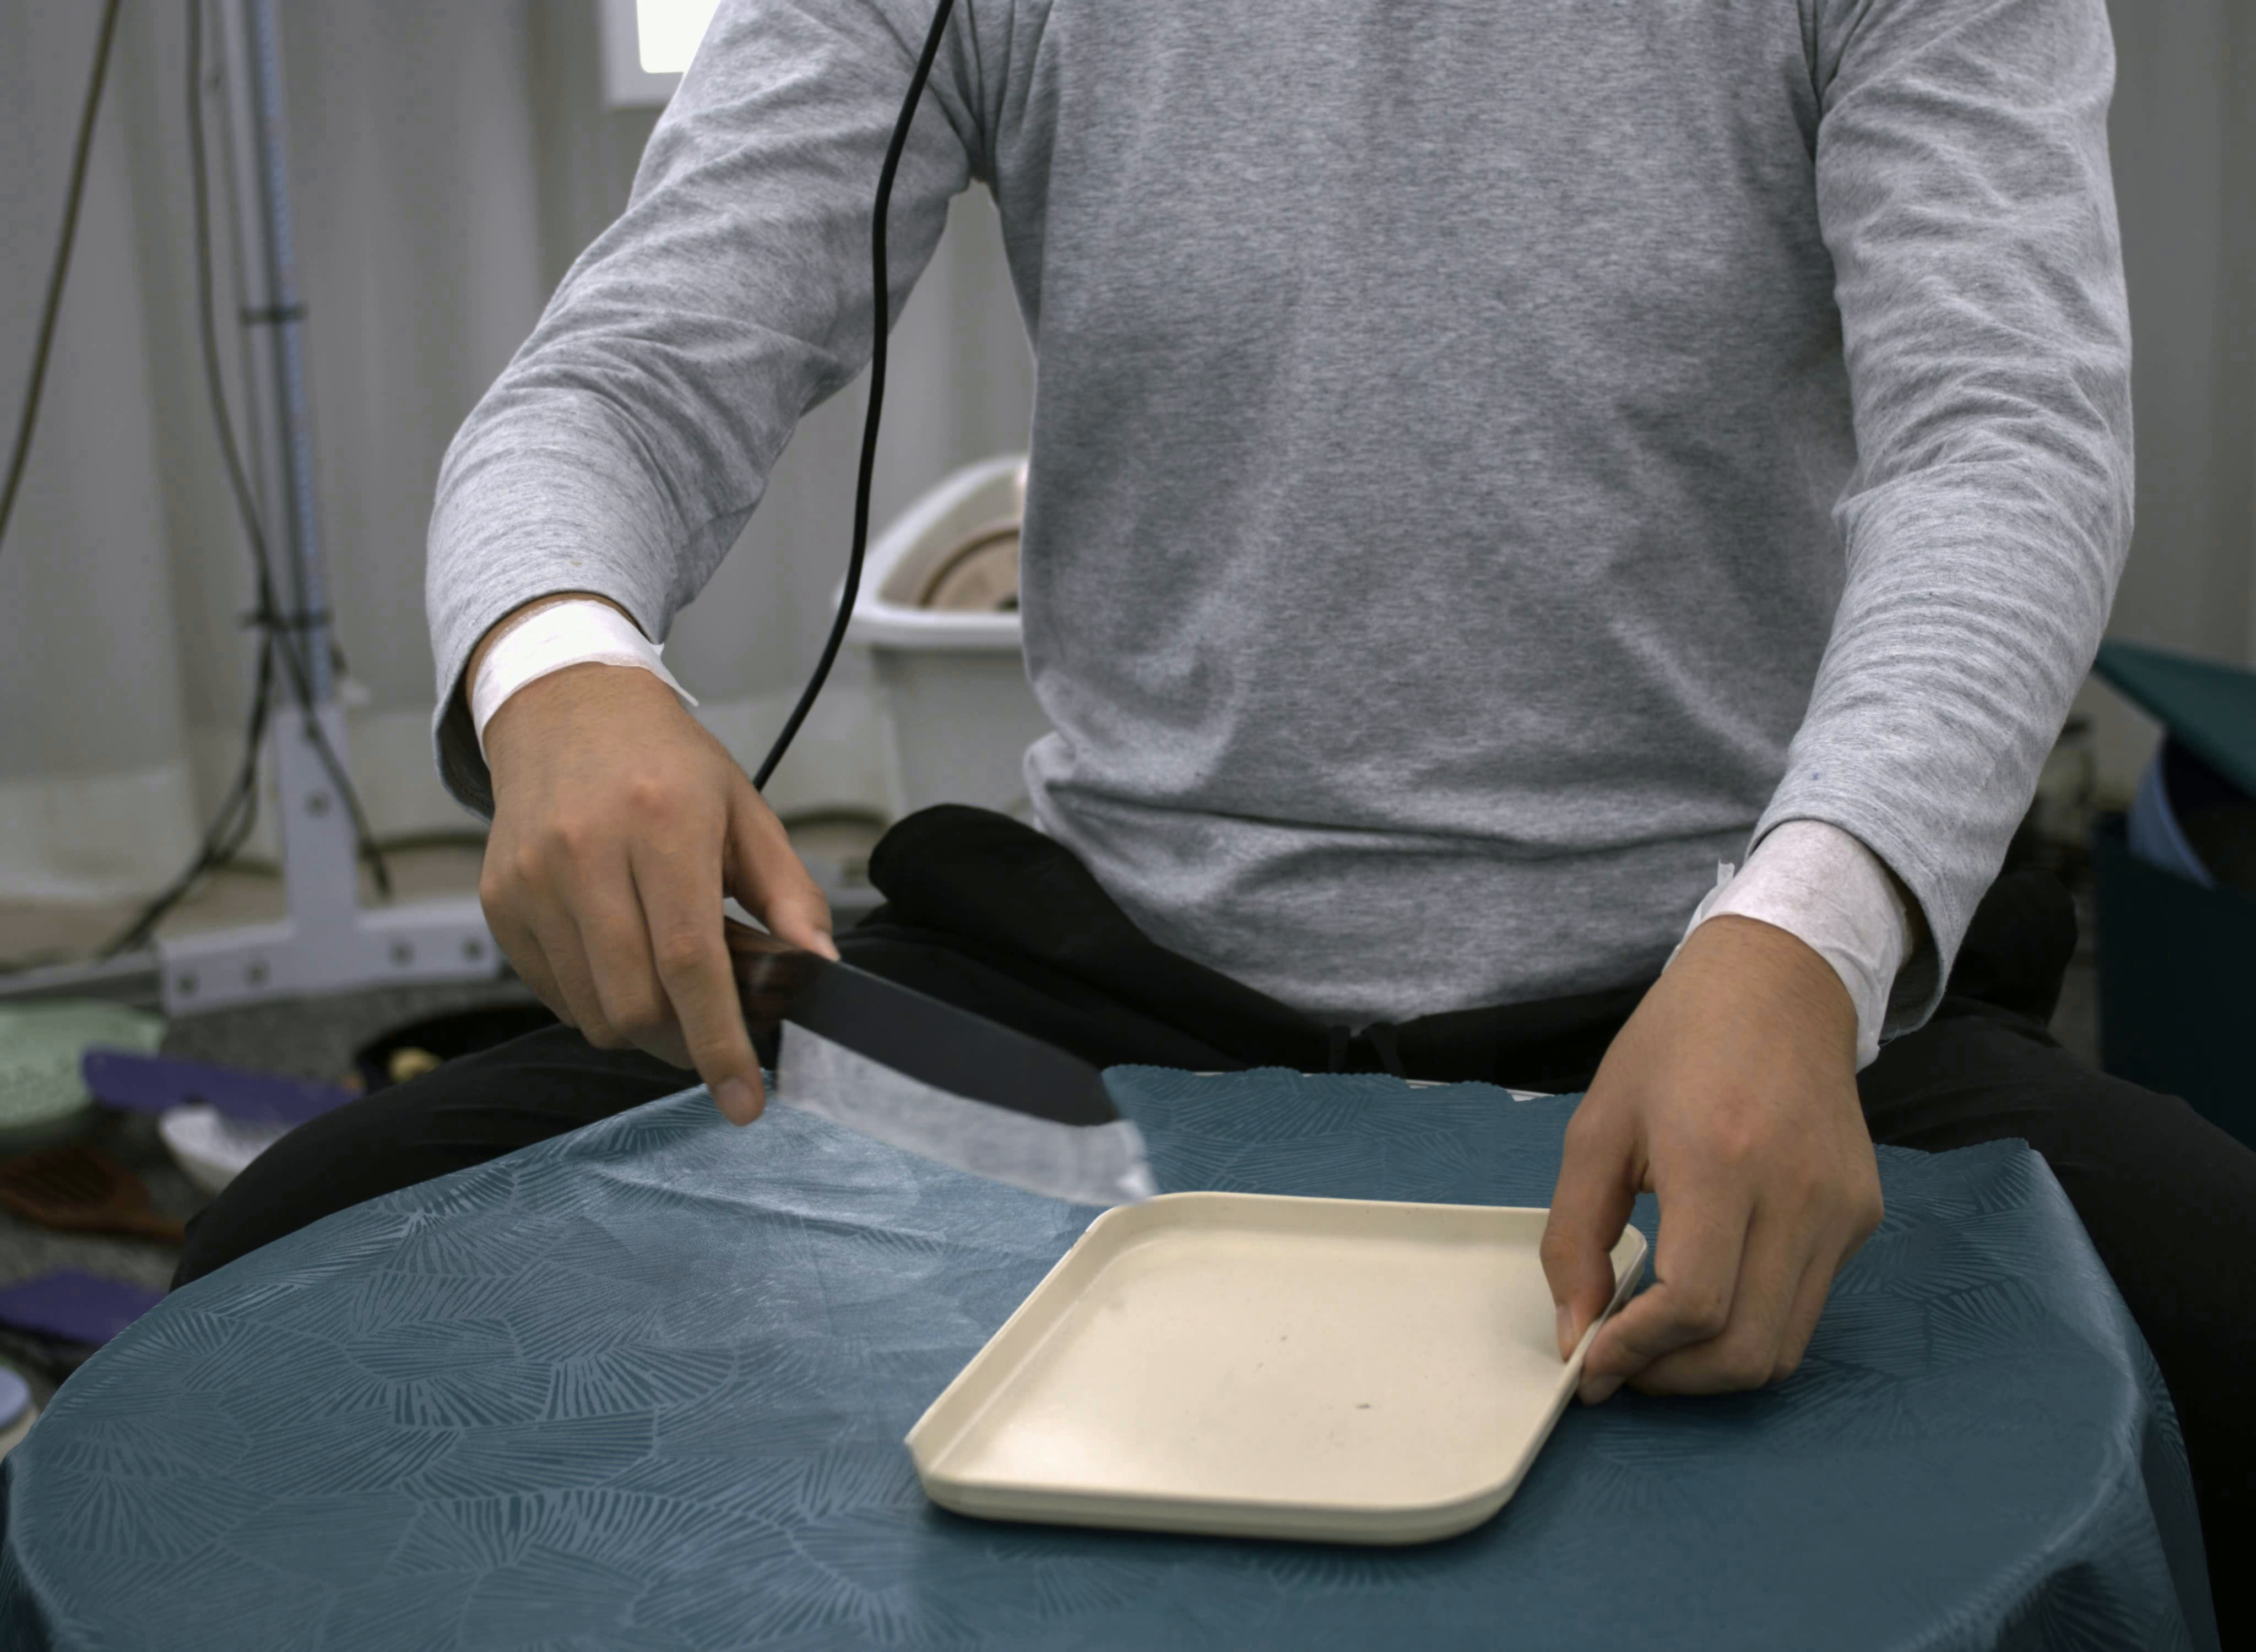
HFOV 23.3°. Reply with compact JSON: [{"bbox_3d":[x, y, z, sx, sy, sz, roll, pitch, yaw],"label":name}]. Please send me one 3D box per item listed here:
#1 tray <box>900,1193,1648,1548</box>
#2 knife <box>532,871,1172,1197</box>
[{"bbox_3d":[0.046,0.151,1.537,0.171,0.017,0.240,2,15,17],"label":"tray"},{"bbox_3d":[-0.080,0.057,1.532,0.020,0.050,0.291,0,14,-41],"label":"knife"}]
